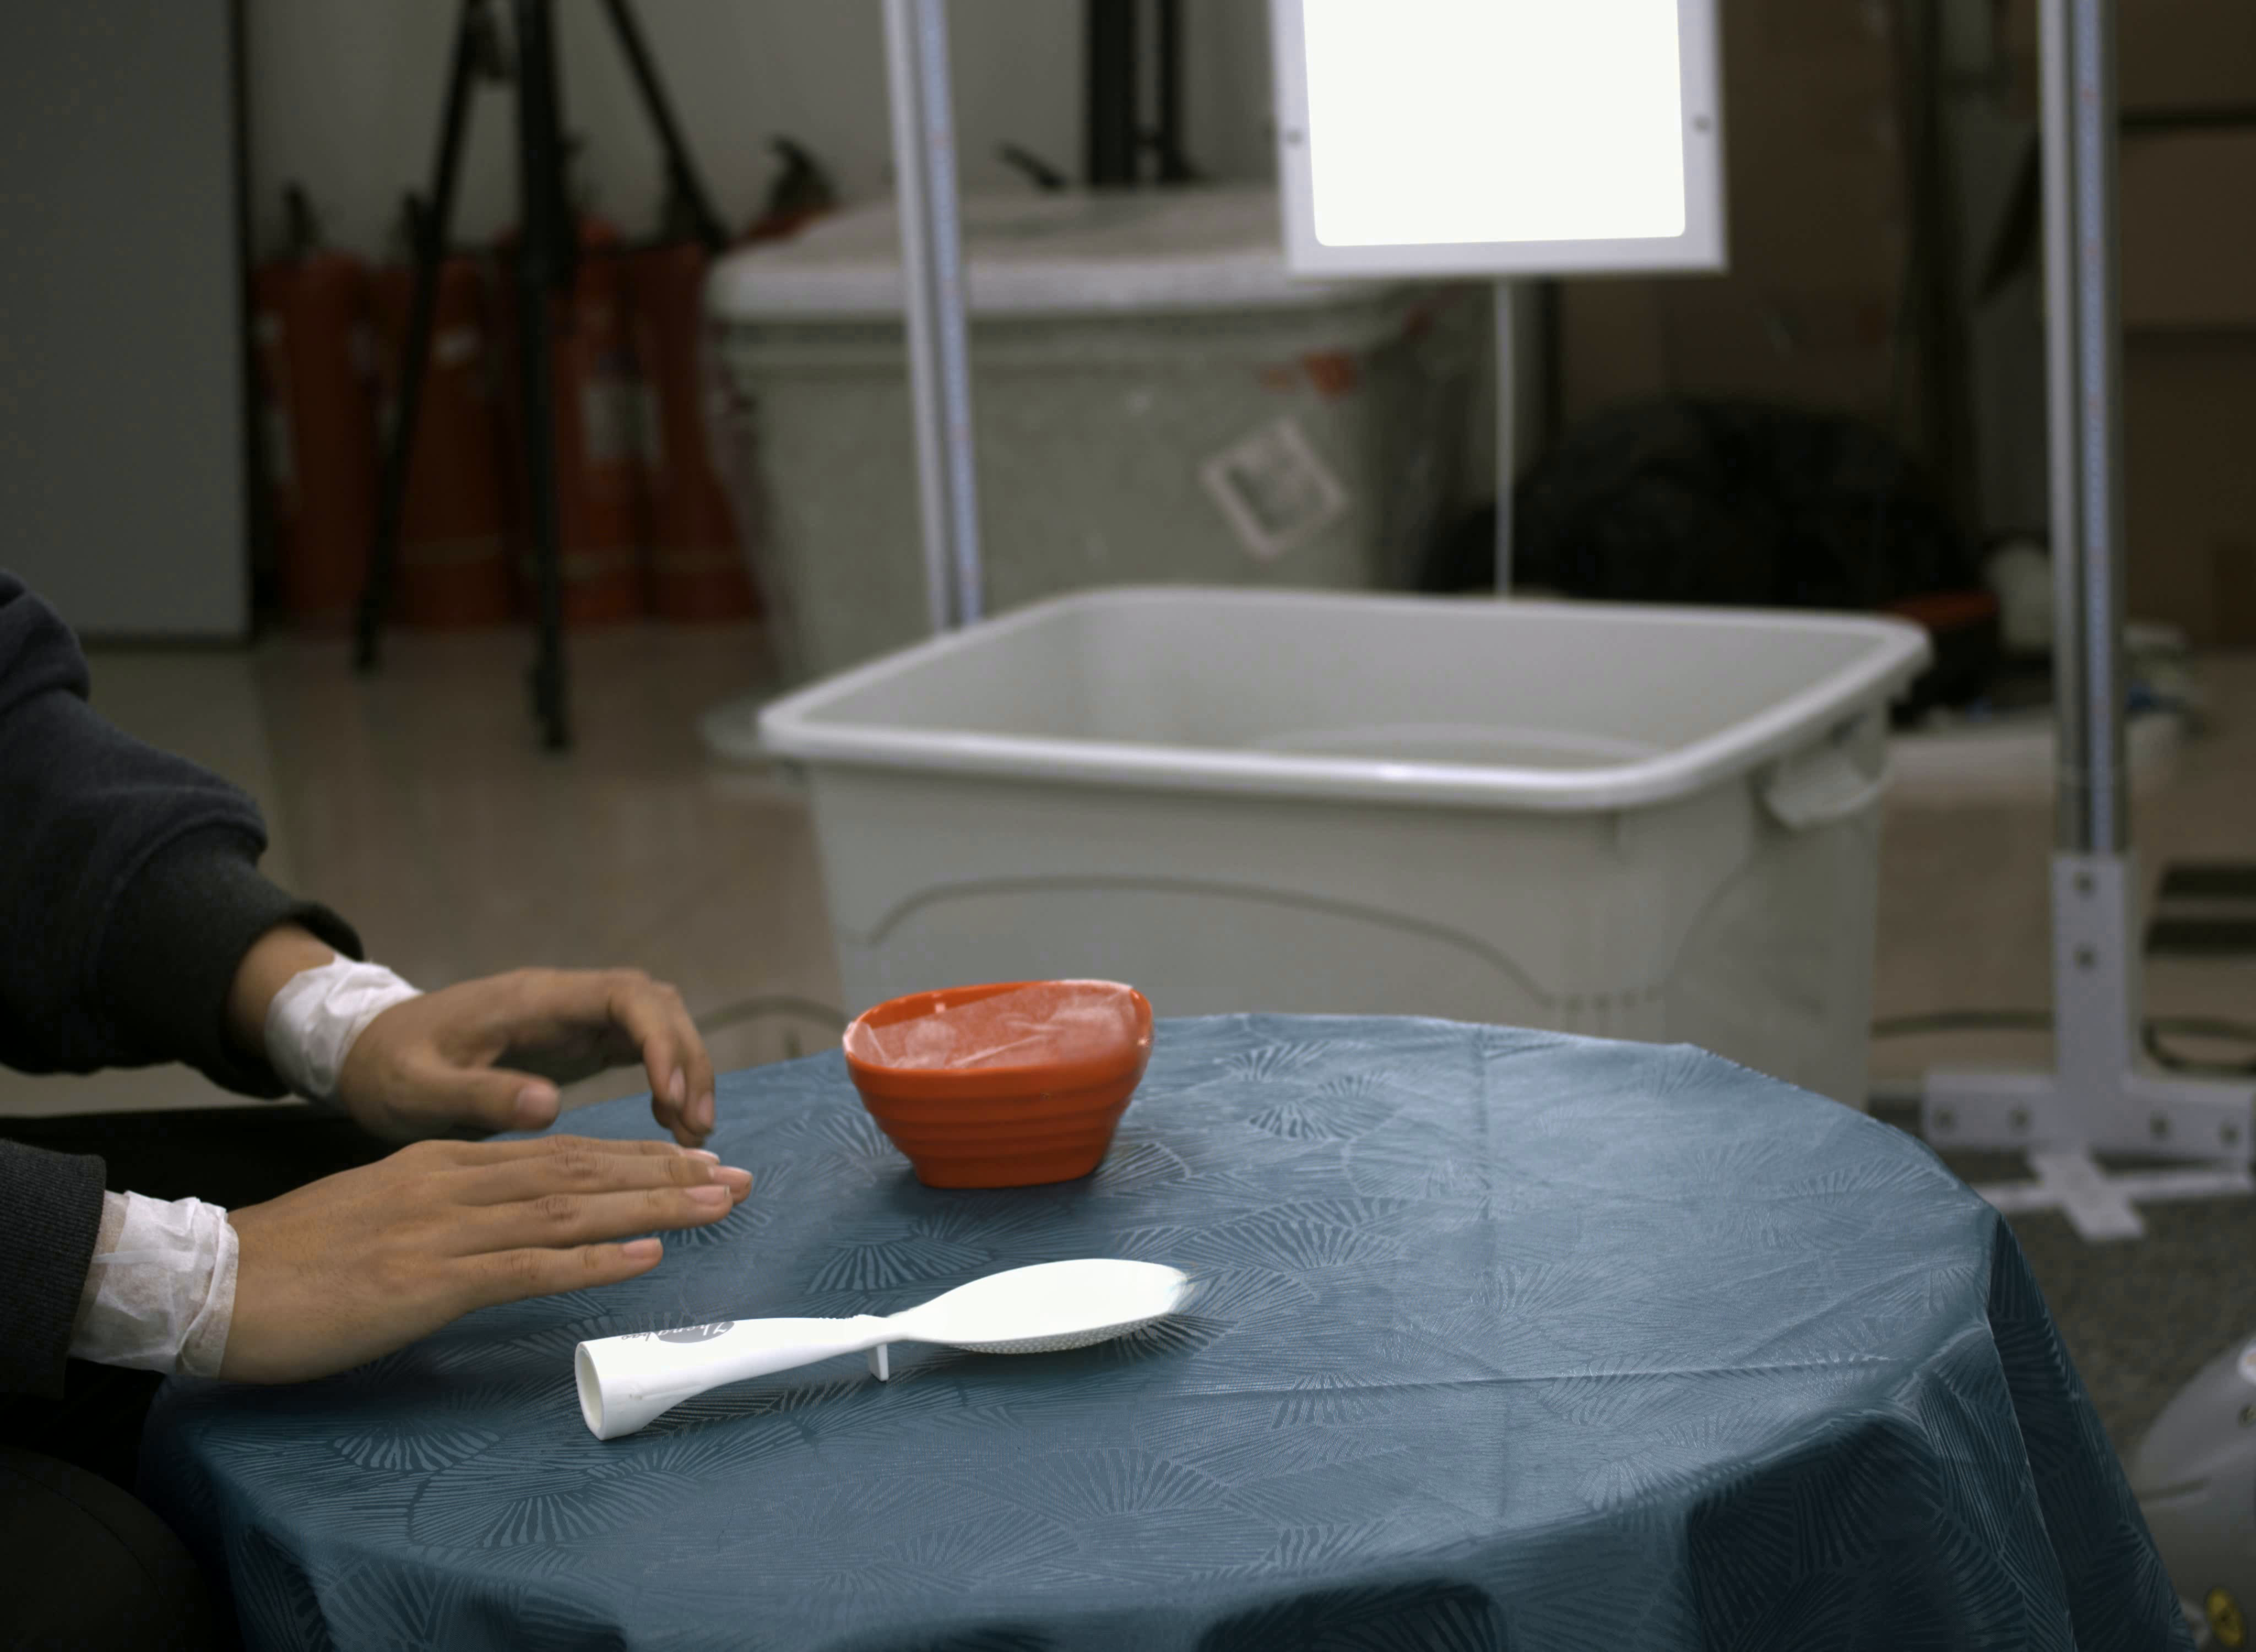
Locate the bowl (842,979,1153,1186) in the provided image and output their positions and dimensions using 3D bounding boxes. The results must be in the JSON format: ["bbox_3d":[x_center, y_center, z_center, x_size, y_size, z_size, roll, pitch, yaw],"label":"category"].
[{"bbox_3d":[-0.044,0.093,1.940,0.118,0.051,0.119,-4,14,0],"label":"bowl"}]

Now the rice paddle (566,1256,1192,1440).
[{"bbox_3d":[-0.075,0.158,1.733,0.201,0.029,0.069,-10,16,-19],"label":"rice paddle"}]
